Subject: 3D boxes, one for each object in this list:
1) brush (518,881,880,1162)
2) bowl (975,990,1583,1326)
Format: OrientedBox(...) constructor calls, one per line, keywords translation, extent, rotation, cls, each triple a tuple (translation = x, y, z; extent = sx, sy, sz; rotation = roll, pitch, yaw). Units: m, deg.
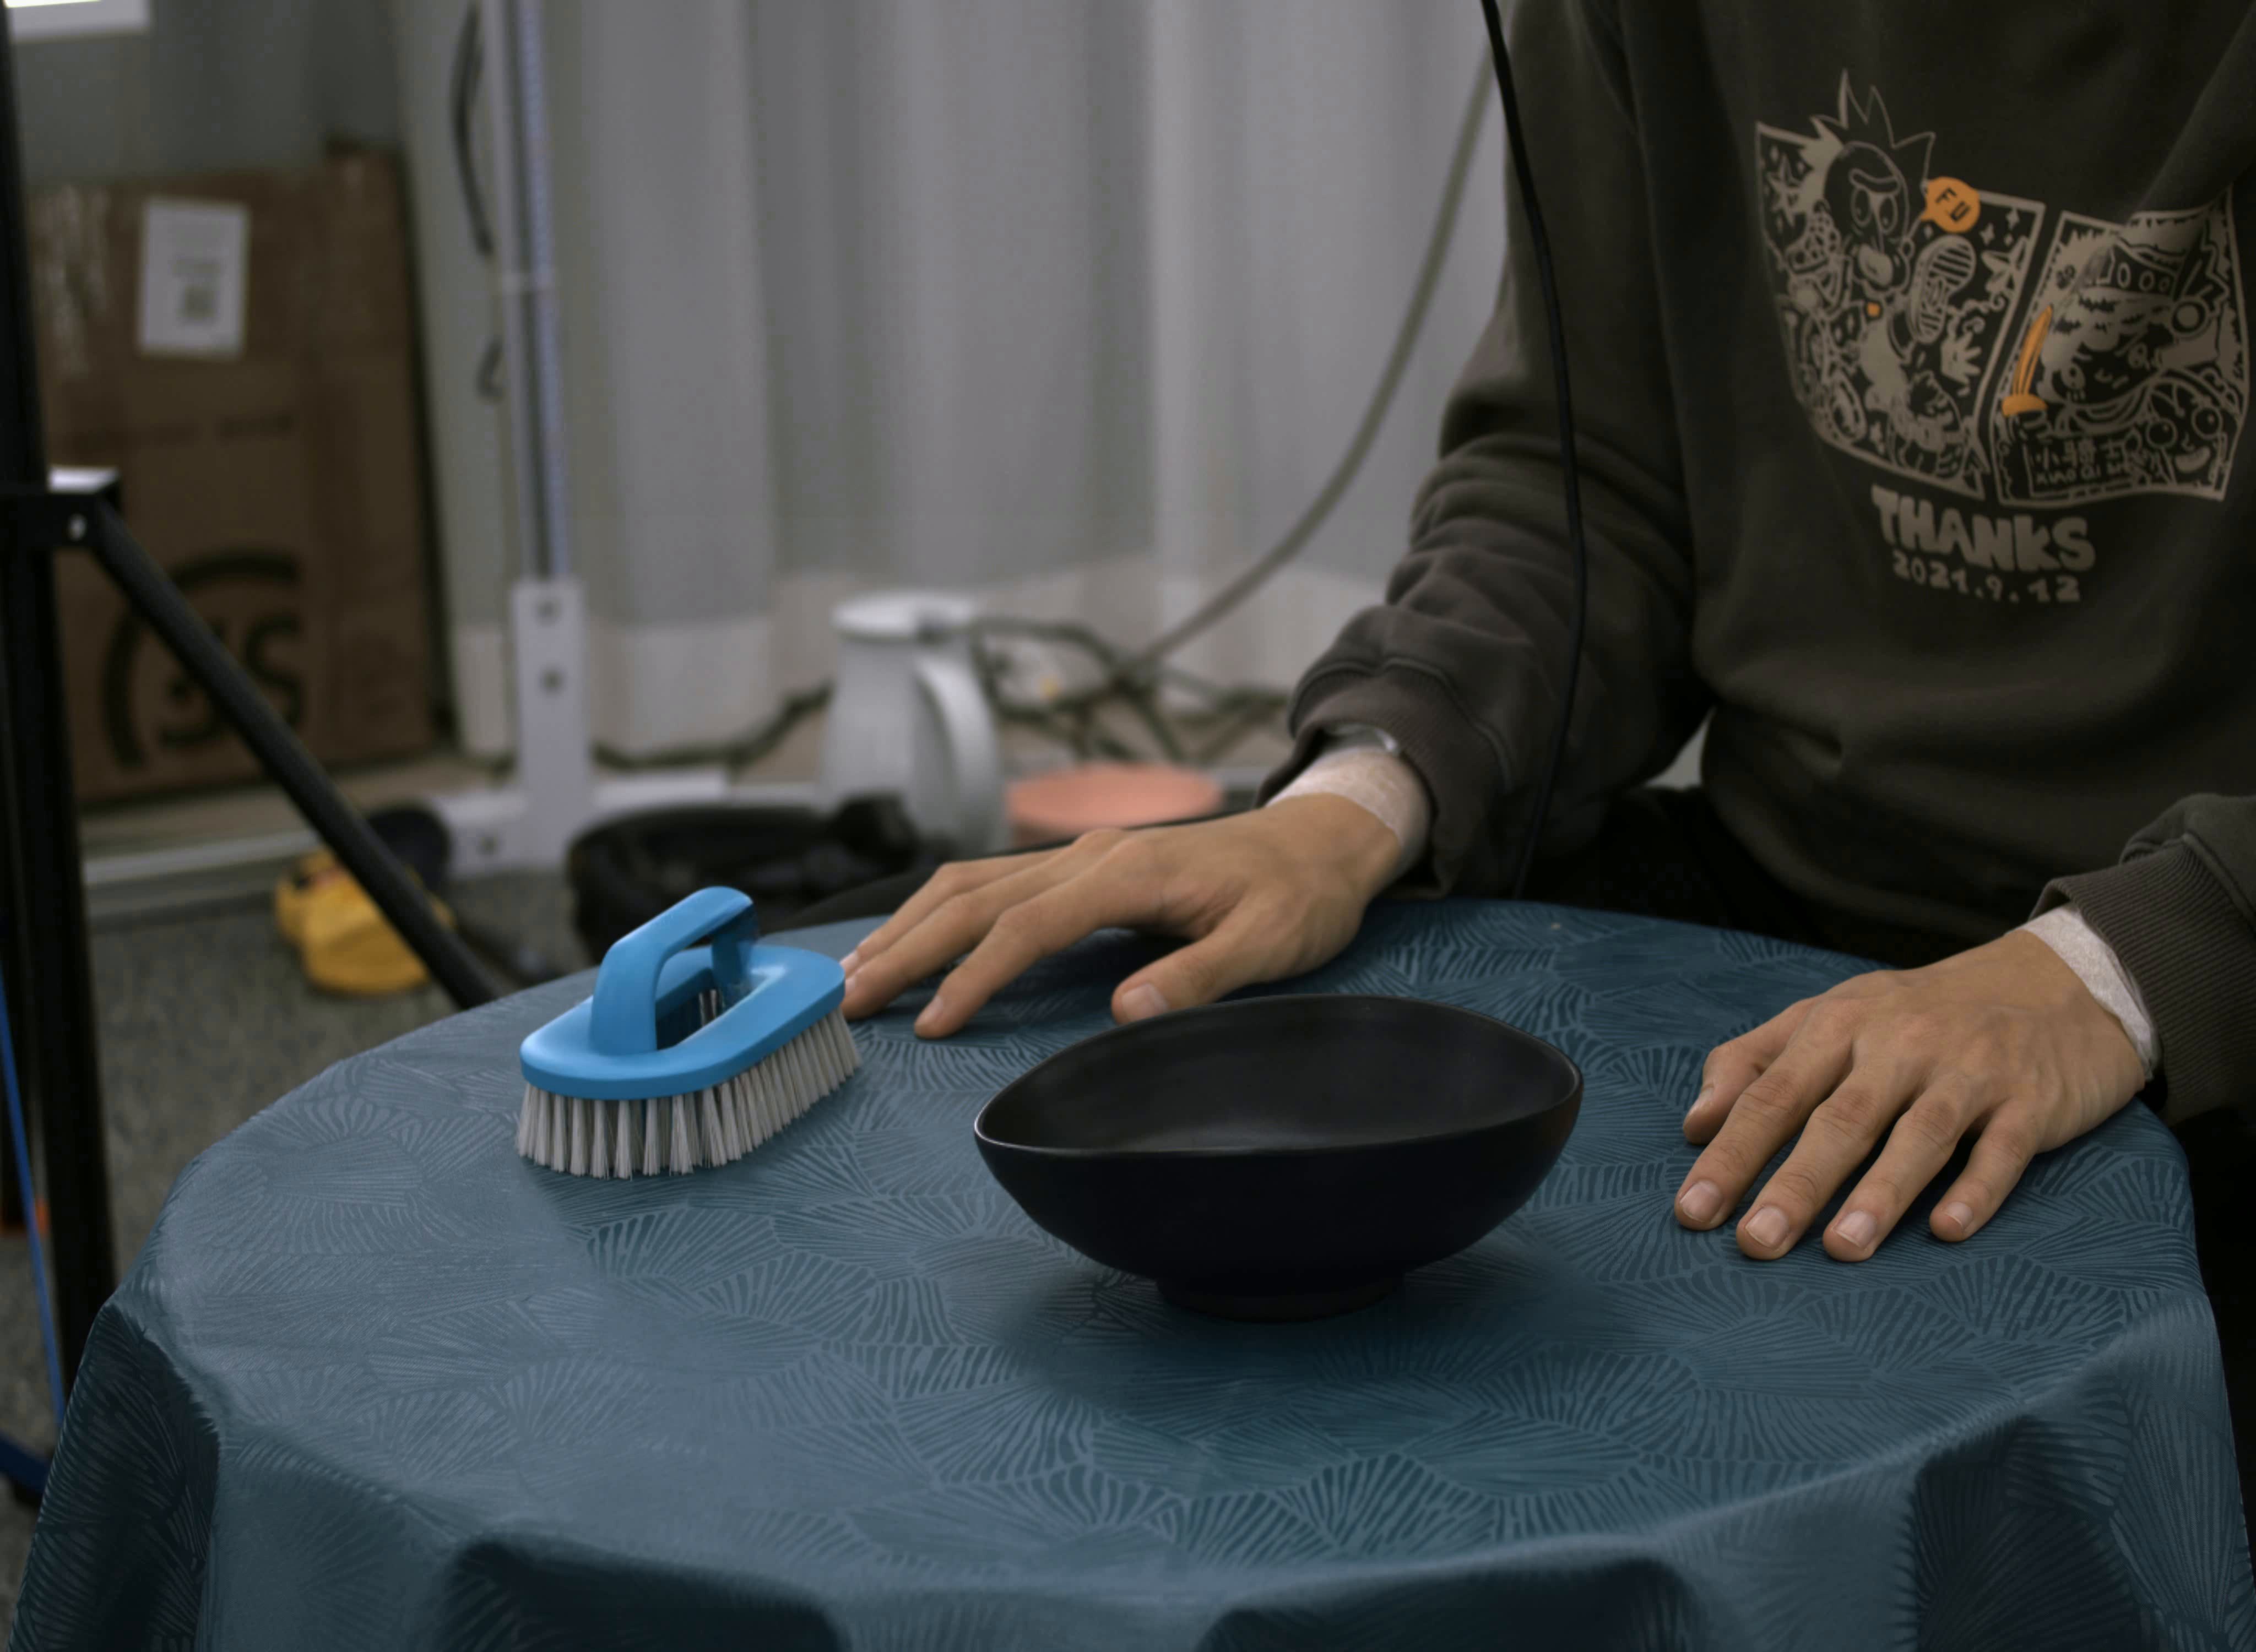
OrientedBox(translation=(-0.135, 0.055, 1.652), extent=(0.085, 0.064, 0.139), rotation=(0, 14, 26), cls="brush")
OrientedBox(translation=(0.043, 0.098, 1.476), extent=(0.170, 0.066, 0.138), rotation=(-4, 15, 3), cls="bowl")
